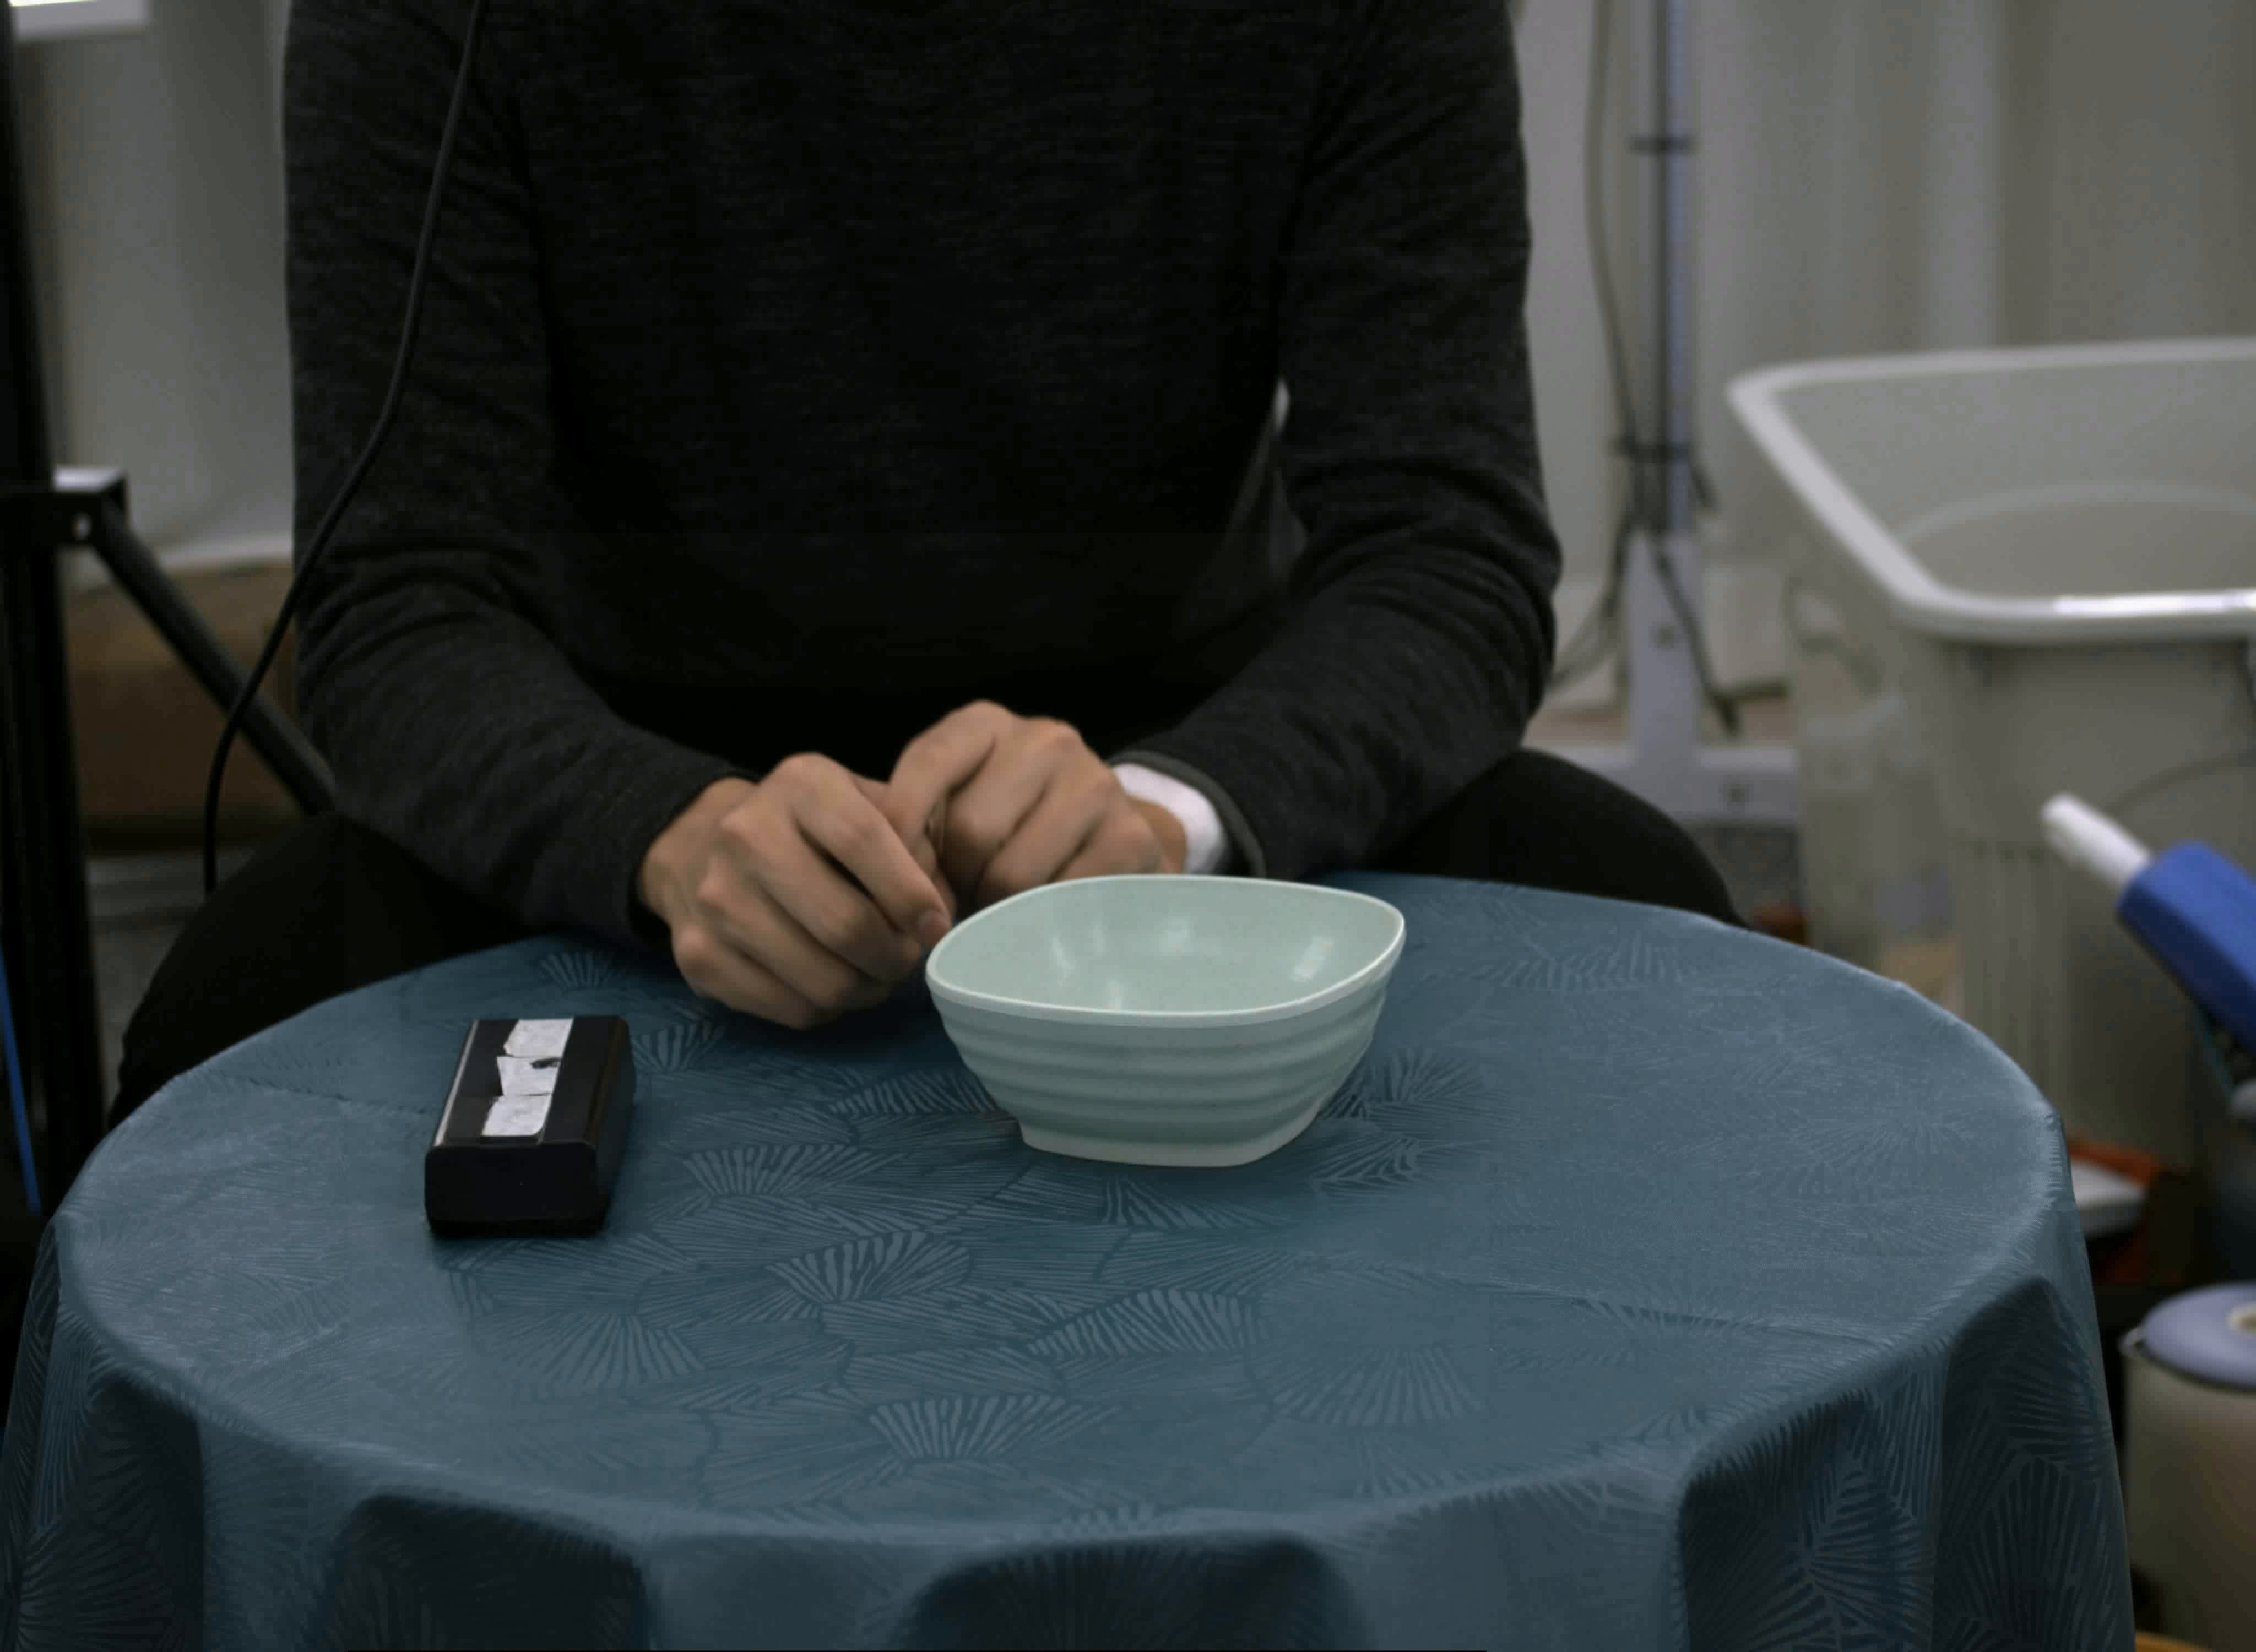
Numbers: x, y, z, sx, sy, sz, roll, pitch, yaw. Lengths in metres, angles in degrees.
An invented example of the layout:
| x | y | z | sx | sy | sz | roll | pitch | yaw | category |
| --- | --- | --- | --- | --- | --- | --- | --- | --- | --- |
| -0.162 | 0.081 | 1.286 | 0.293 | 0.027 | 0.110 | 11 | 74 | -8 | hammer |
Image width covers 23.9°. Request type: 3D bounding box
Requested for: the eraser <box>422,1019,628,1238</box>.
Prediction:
| x | y | z | sx | sy | sz | roll | pitch | yaw | category |
| --- | --- | --- | --- | --- | --- | --- | --- | --- | --- |
| -0.179 | 0.090 | 1.599 | 0.053 | 0.030 | 0.126 | 0 | 15 | -2 | eraser |

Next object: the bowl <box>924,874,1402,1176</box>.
| x | y | z | sx | sy | sz | roll | pitch | yaw | category |
| --- | --- | --- | --- | --- | --- | --- | --- | --- | --- |
| 0.011 | 0.064 | 1.613 | 0.150 | 0.058 | 0.152 | -1 | 16 | -1 | bowl |
